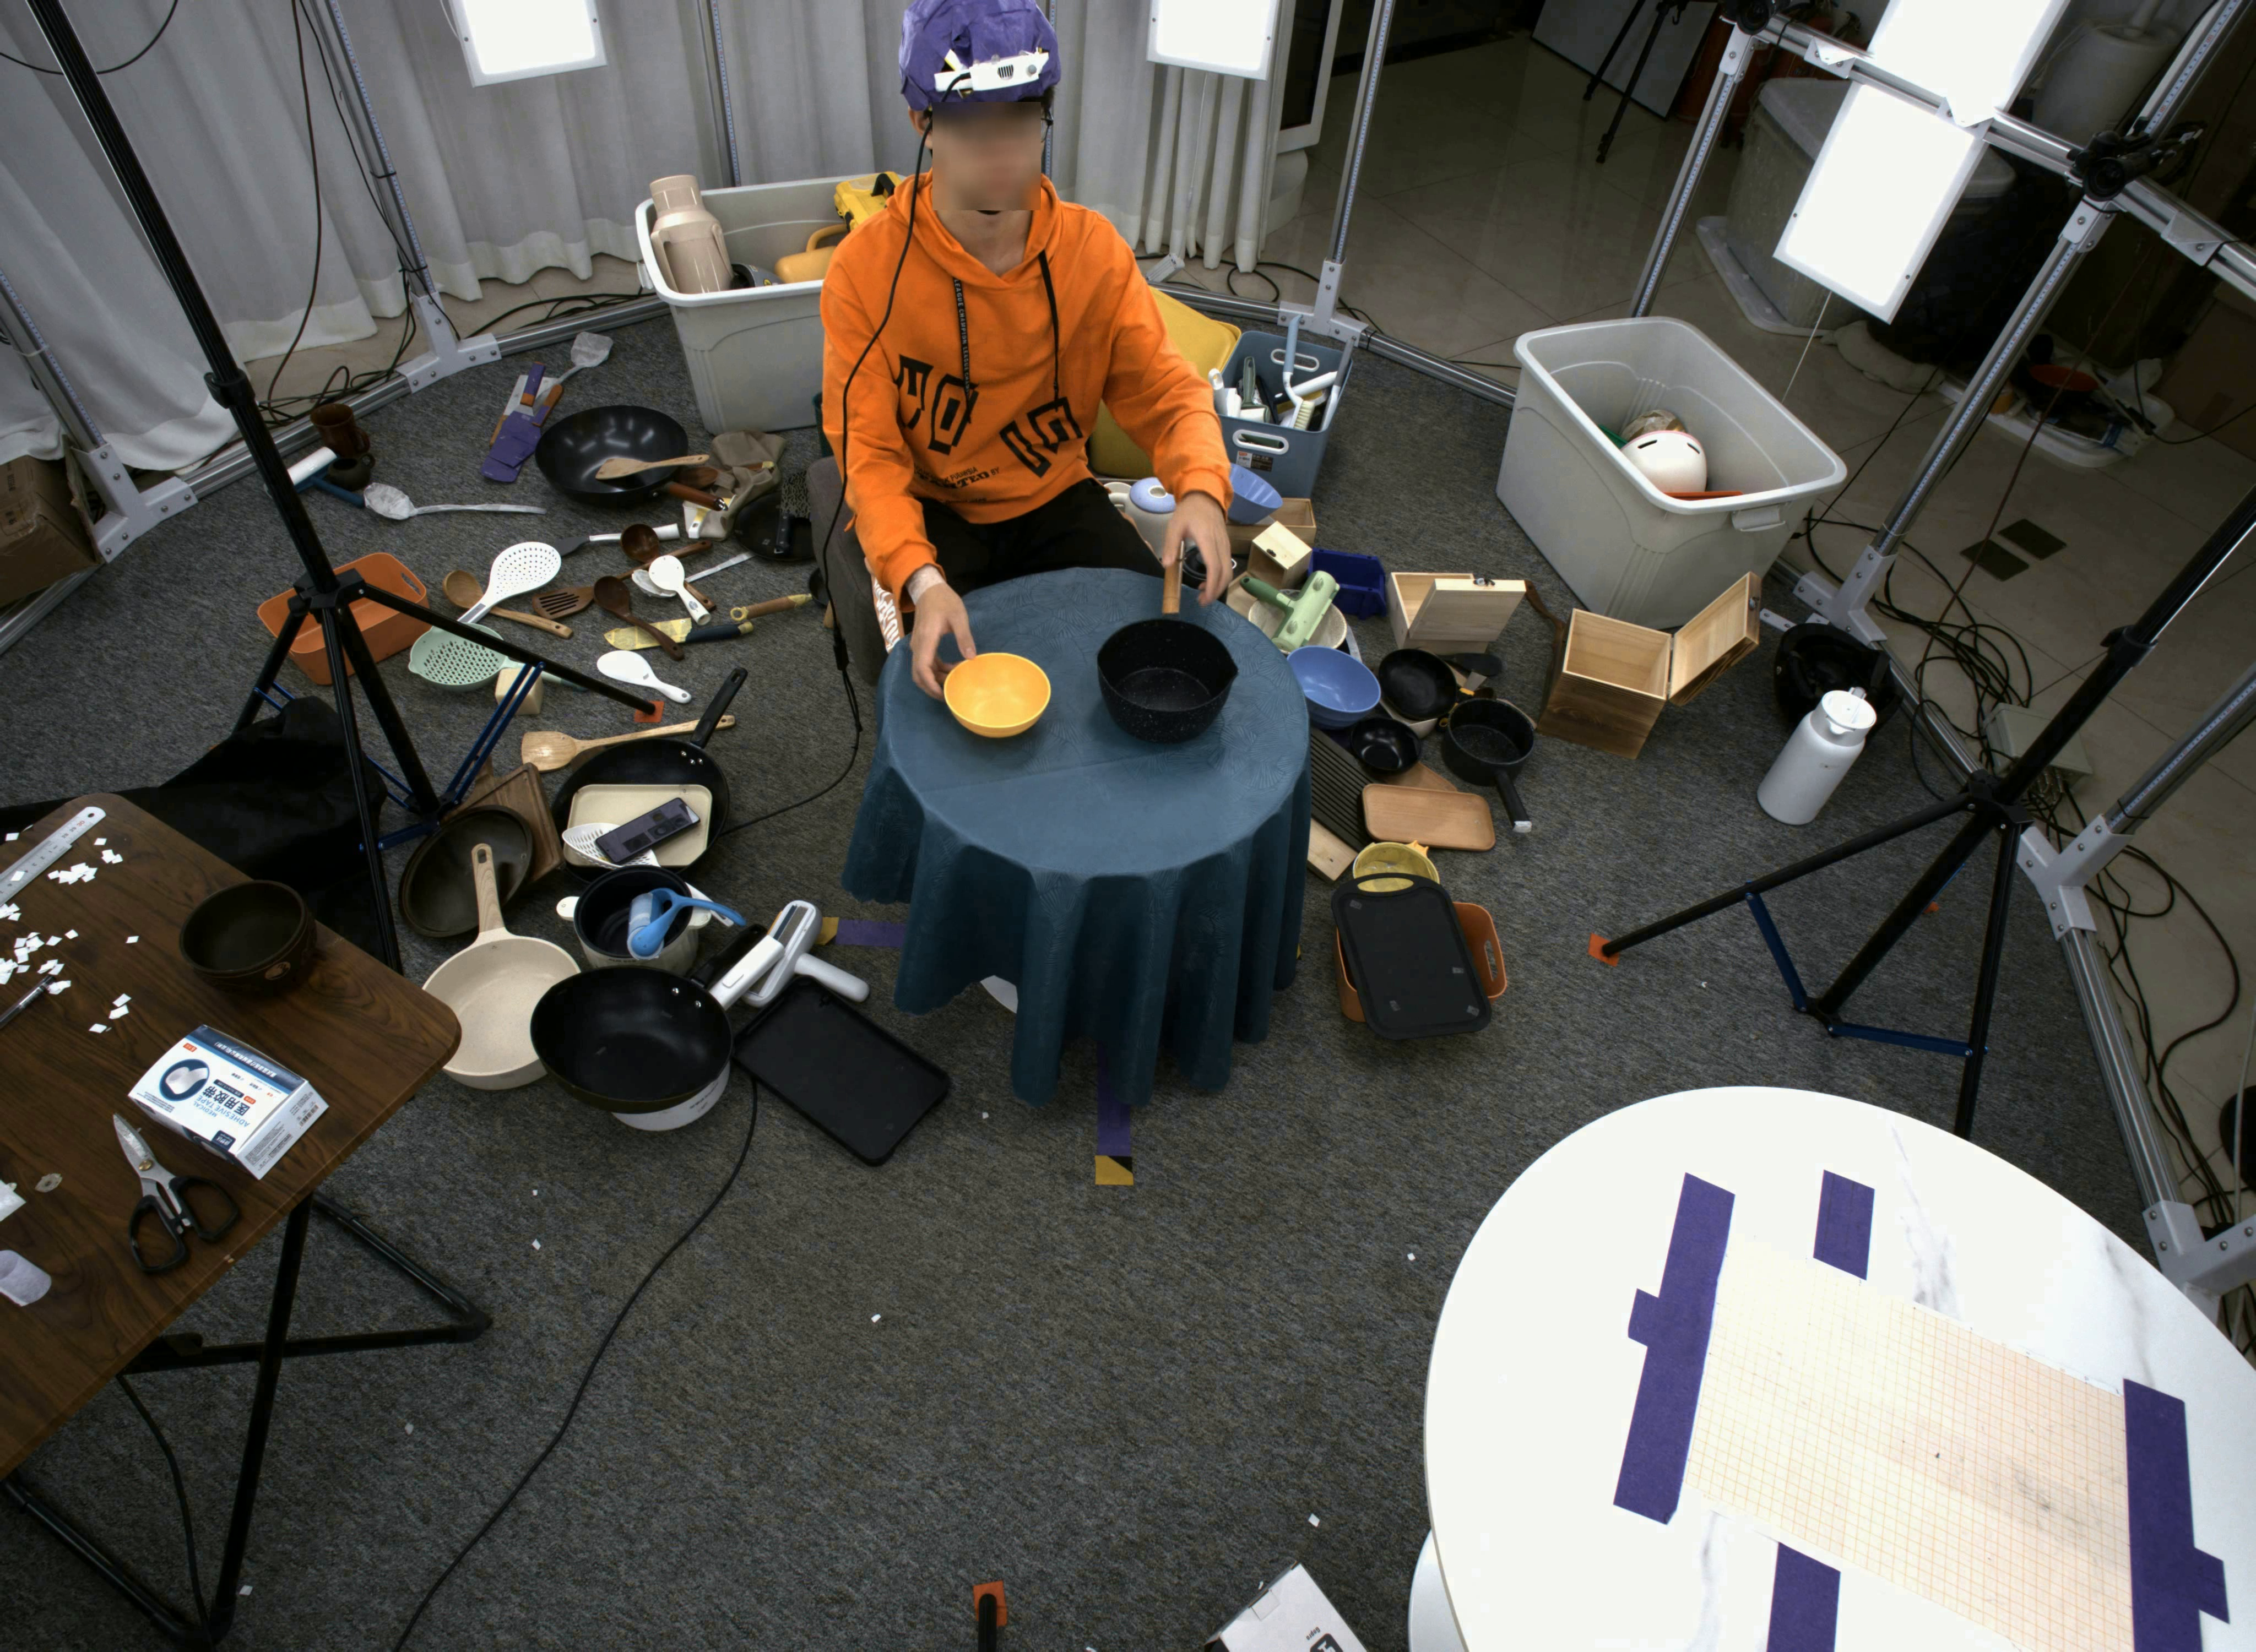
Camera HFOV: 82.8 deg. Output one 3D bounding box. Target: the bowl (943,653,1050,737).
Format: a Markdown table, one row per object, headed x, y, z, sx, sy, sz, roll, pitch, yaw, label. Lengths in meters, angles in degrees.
| x | y | z | sx | sy | sz | roll | pitch | yaw | label |
| --- | --- | --- | --- | --- | --- | --- | --- | --- | --- |
| -0.180 | -0.168 | 1.765 | 0.145 | 0.058 | 0.149 | 3 | 48 | -3 | bowl |

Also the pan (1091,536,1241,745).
| x | y | z | sx | sy | sz | roll | pitch | yaw | label |
| --- | --- | --- | --- | --- | --- | --- | --- | --- | --- |
| 0.056 | -0.266 | 1.833 | 0.207 | 0.105 | 0.351 | 4 | 50 | 1 | pan |
